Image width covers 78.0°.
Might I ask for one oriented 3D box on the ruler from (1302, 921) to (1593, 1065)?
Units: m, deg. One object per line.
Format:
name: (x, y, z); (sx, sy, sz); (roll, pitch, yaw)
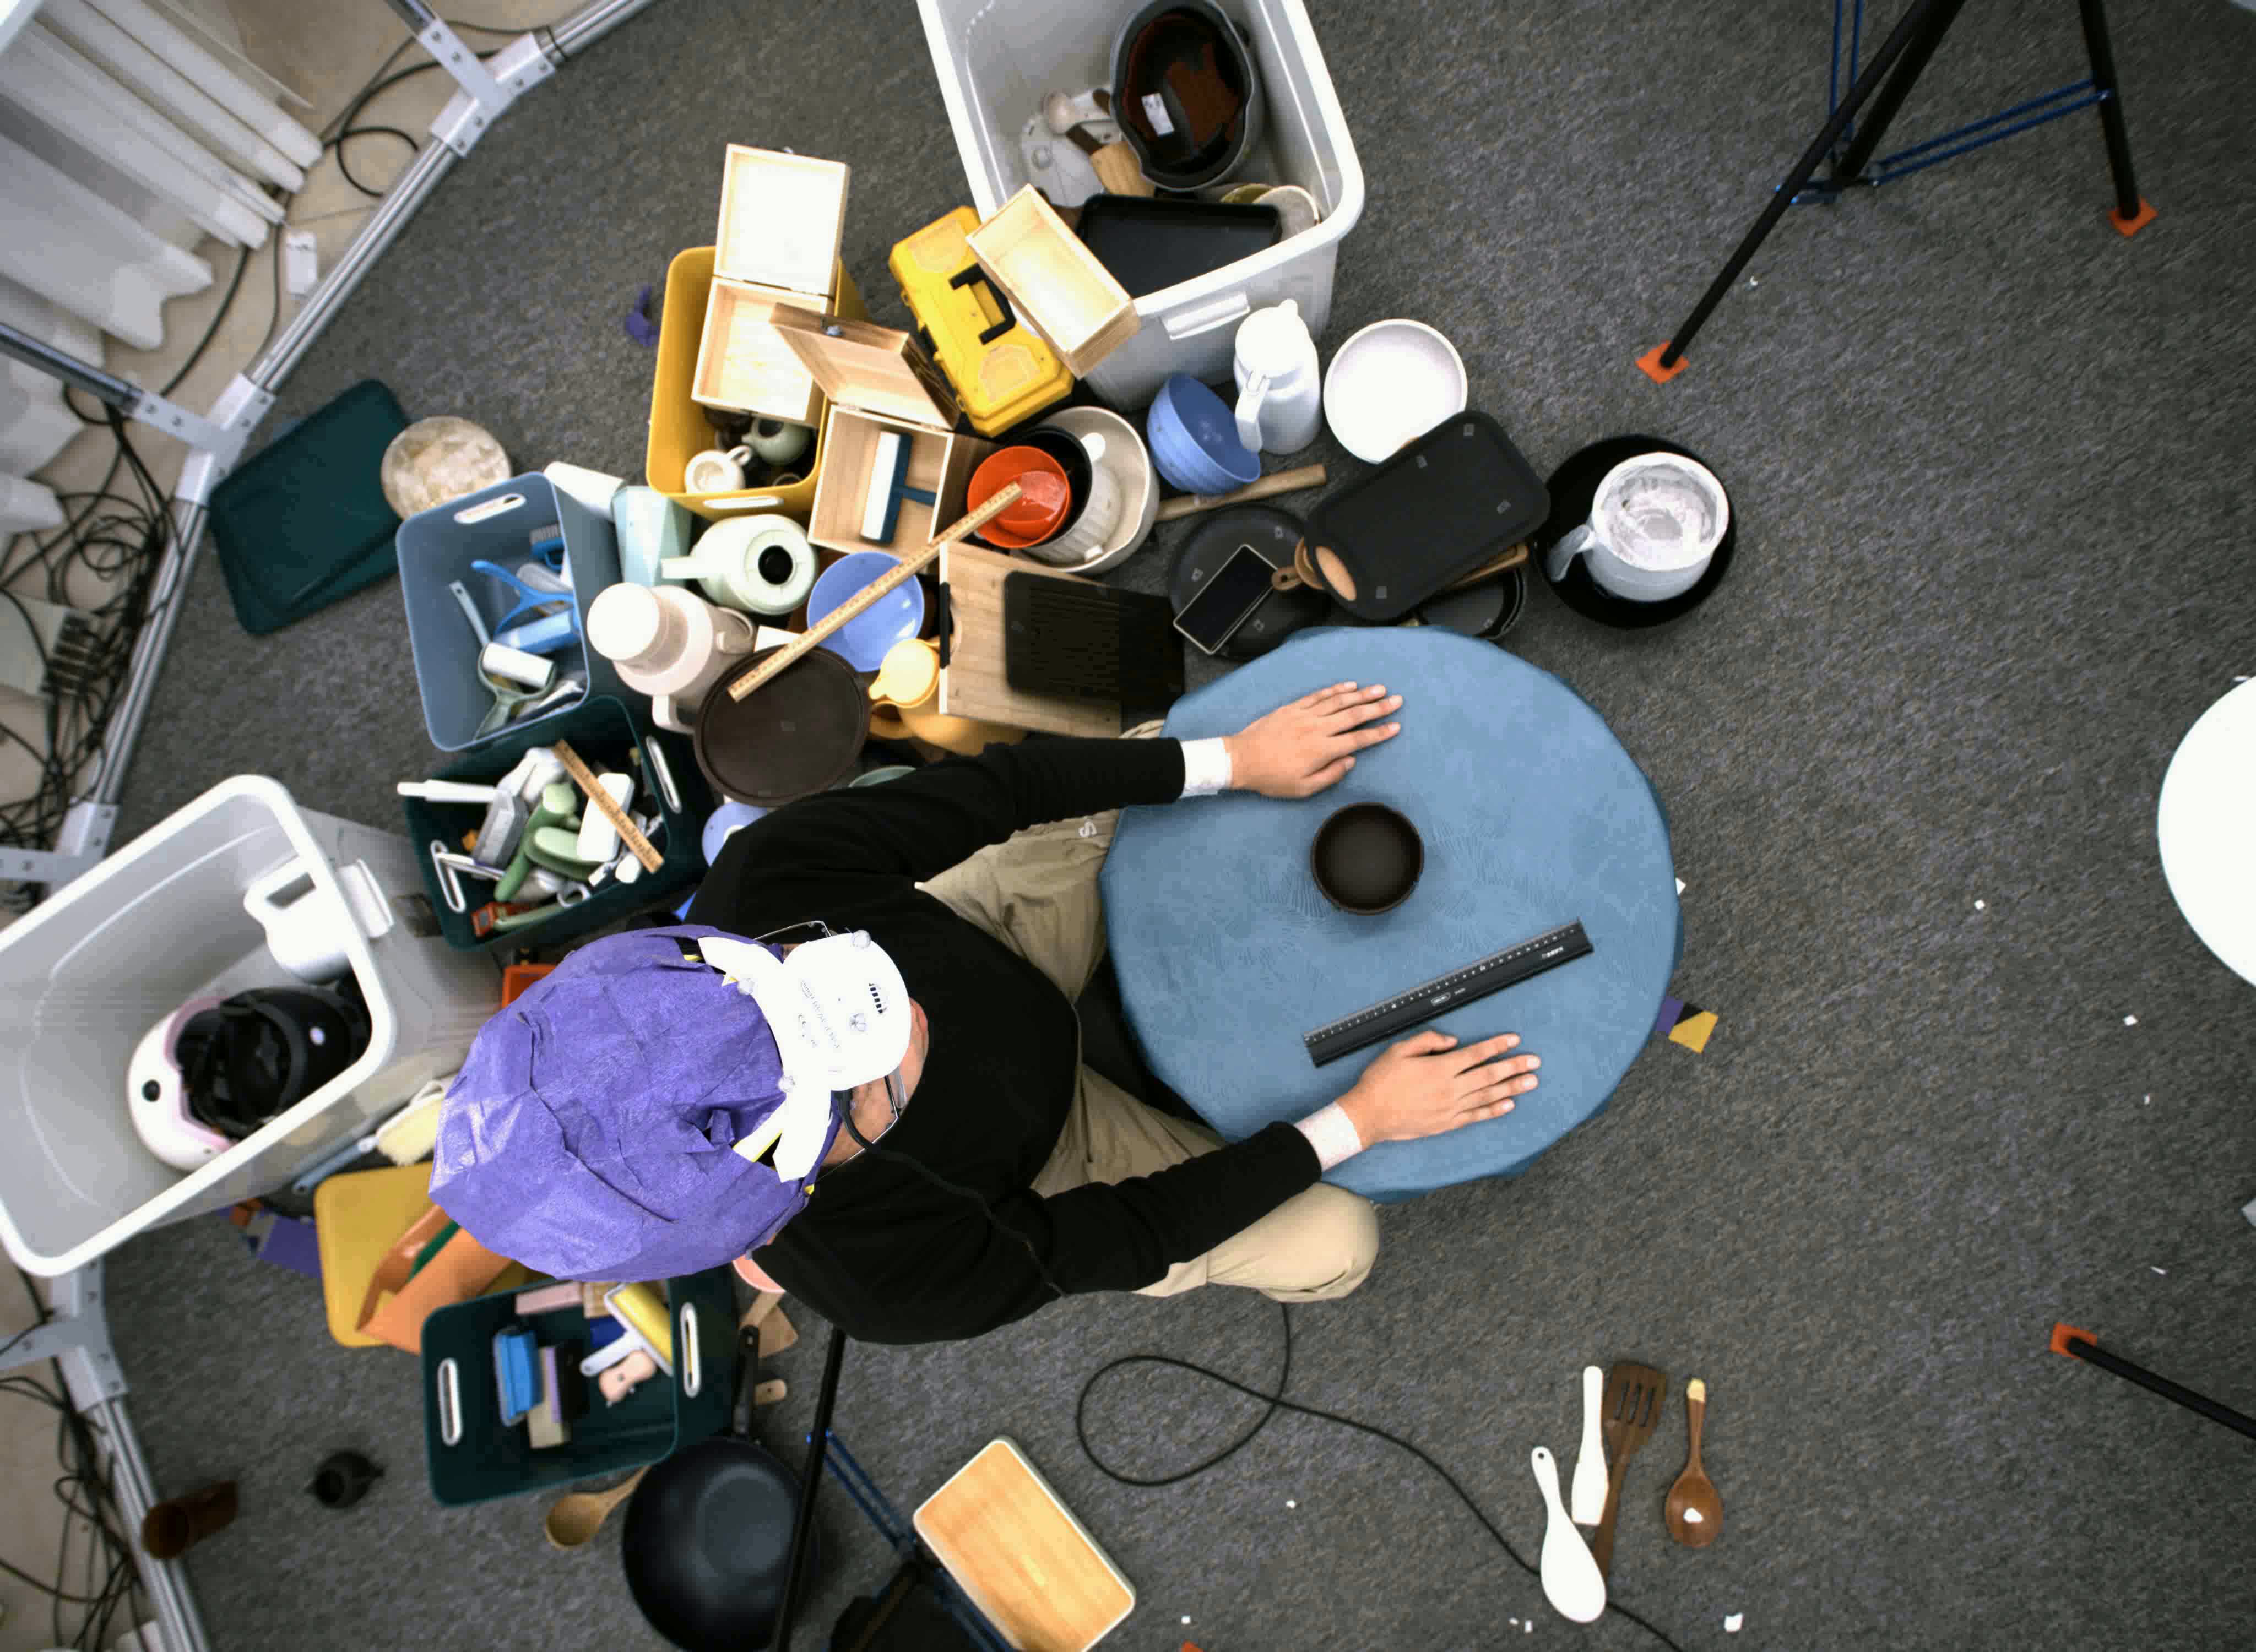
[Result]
ruler: (0.331, 0.171, 1.435); (0.314, 0.017, 0.039); (-24, 78, 9)

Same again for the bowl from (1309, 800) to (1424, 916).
bowl: (0.246, 0.034, 1.429); (0.118, 0.070, 0.117); (-1, 85, 10)
